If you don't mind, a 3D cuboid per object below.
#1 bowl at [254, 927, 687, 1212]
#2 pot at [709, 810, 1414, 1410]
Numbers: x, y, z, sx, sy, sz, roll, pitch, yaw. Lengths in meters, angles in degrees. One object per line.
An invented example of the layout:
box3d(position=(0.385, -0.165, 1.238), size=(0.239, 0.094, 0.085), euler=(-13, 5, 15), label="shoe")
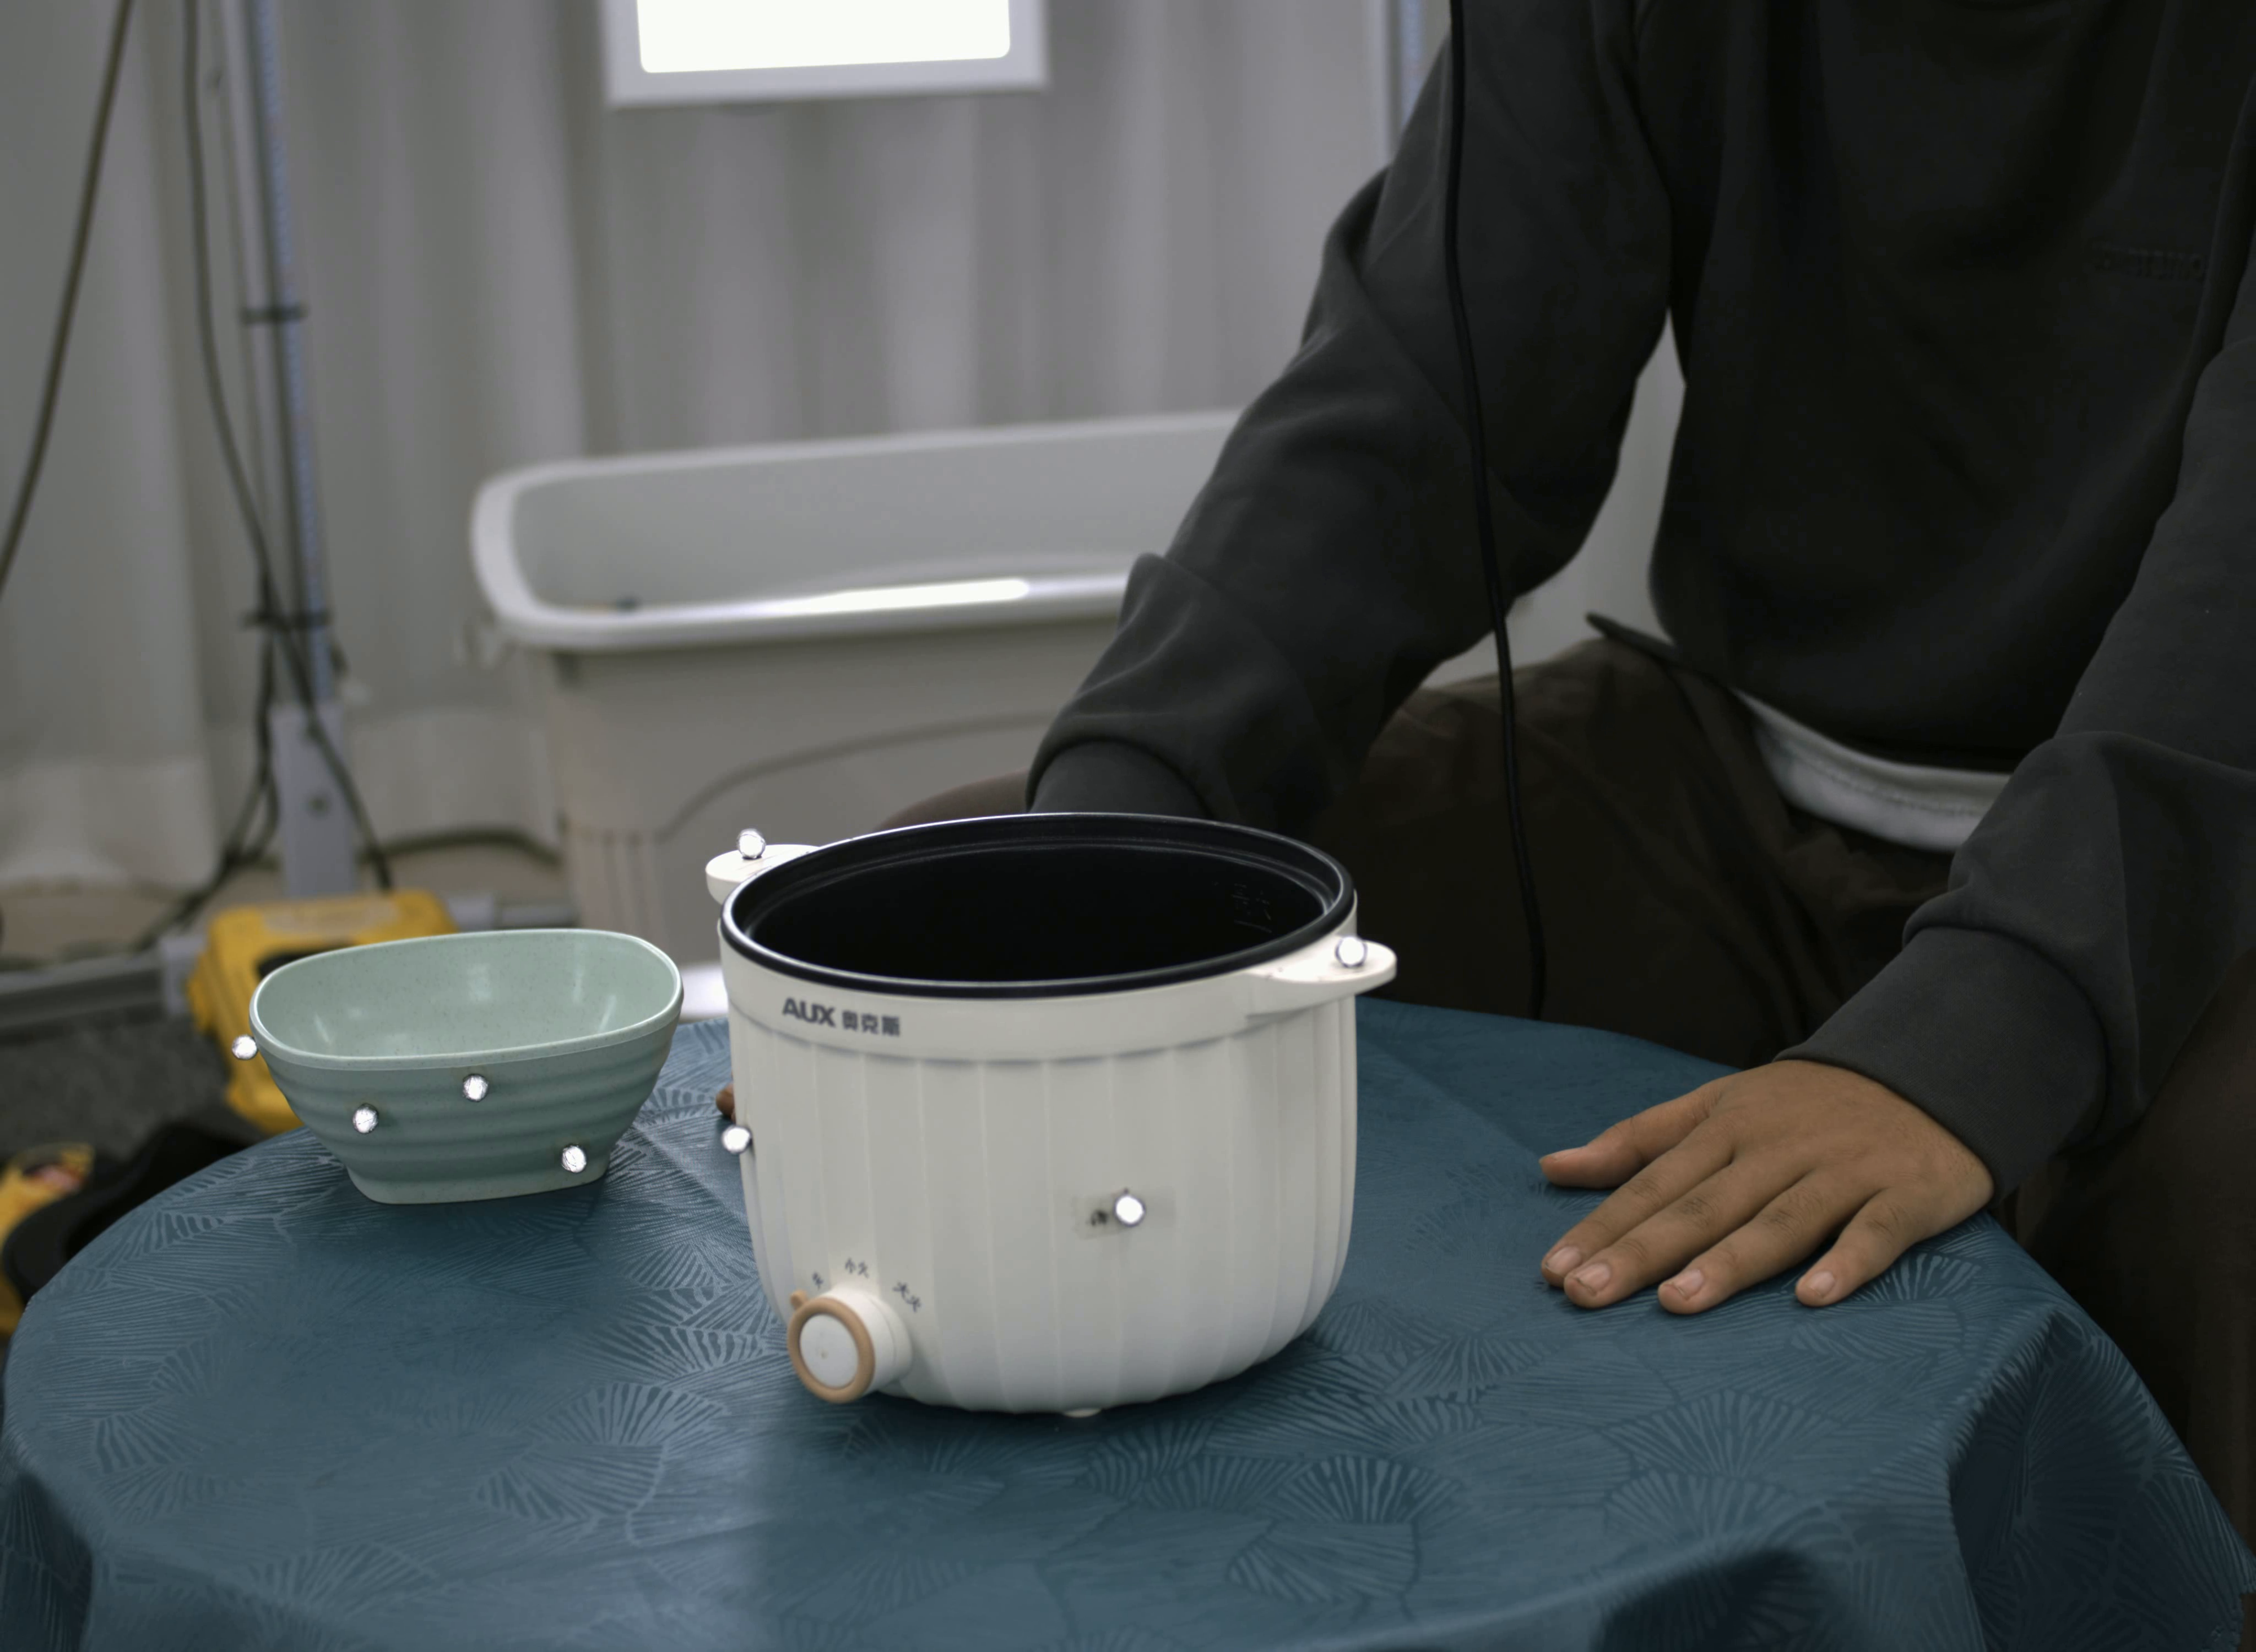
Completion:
box3d(position=(-0.211, 0.082, 1.770), size=(0.151, 0.058, 0.152), euler=(-2, 16, 0), label="bowl")
box3d(position=(-0.023, 0.084, 1.566), size=(0.241, 0.142, 0.190), euler=(6, 14, 36), label="pot")
